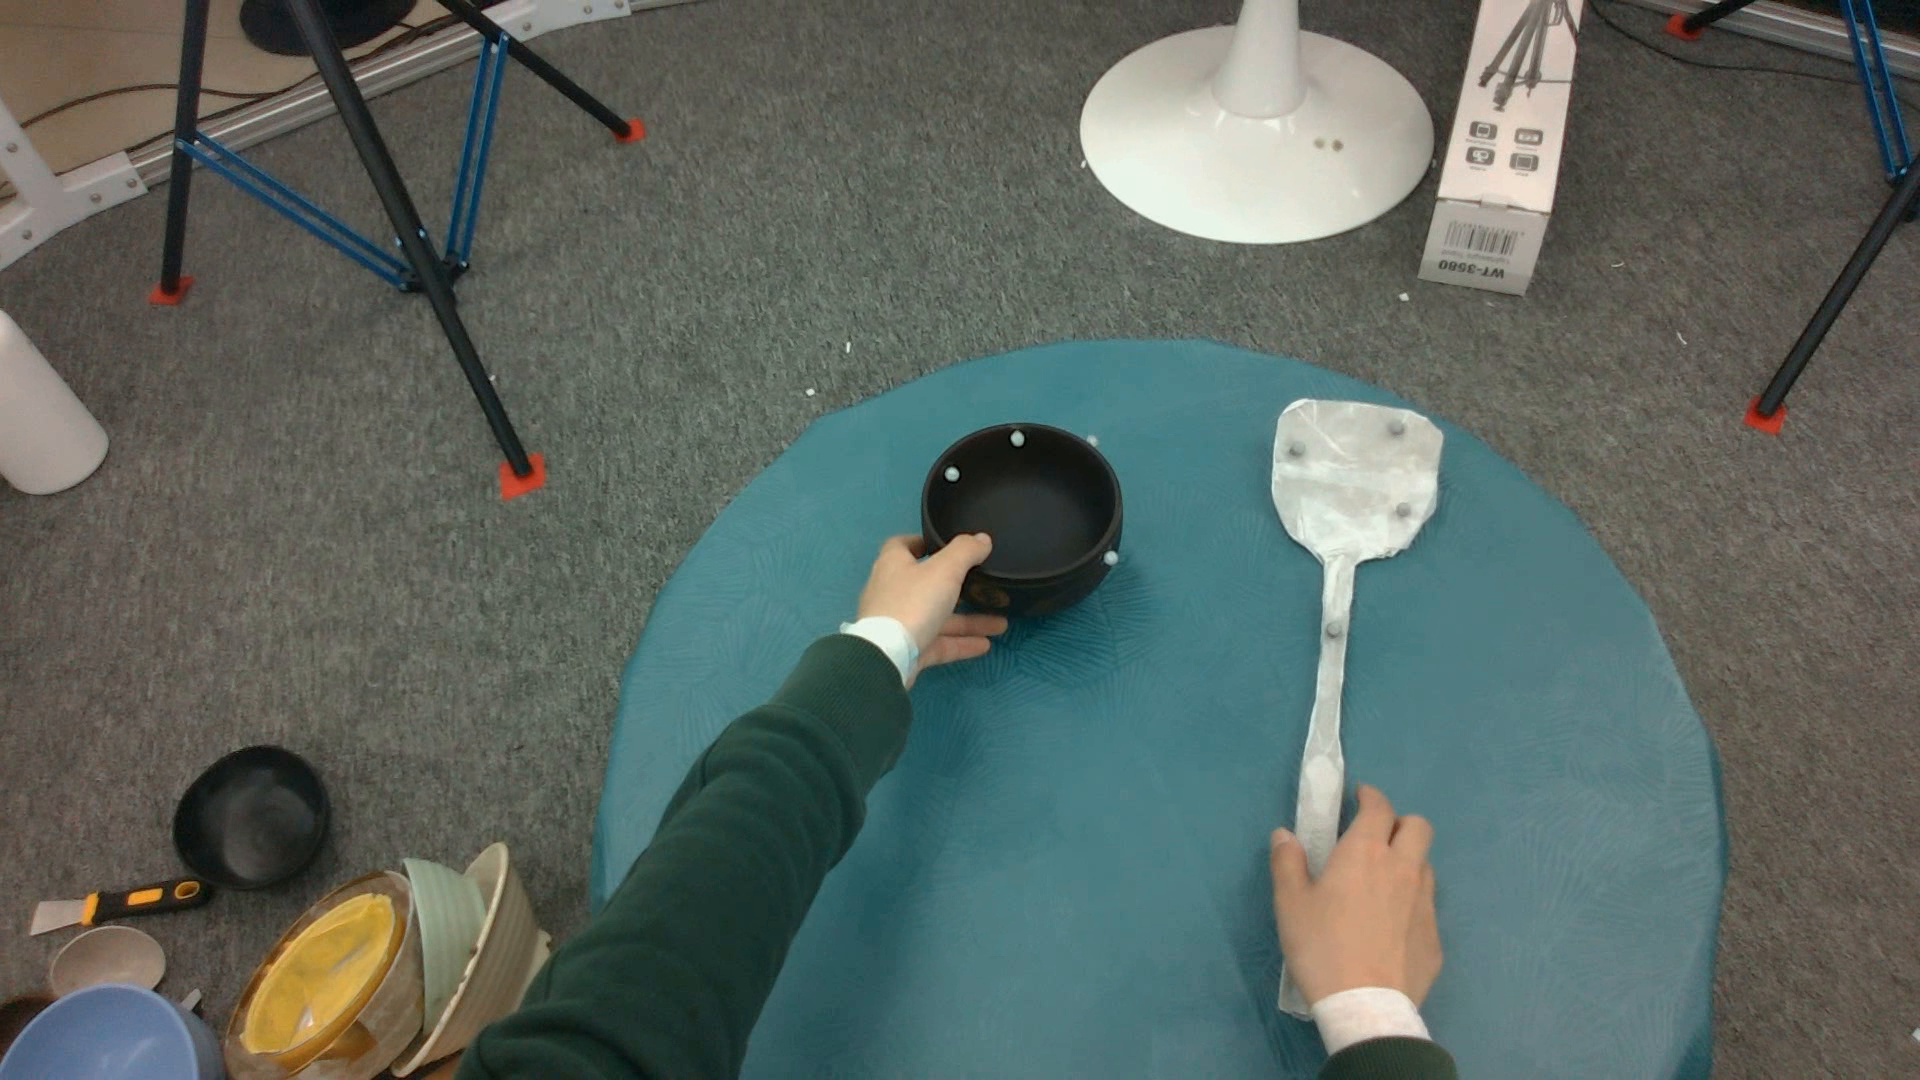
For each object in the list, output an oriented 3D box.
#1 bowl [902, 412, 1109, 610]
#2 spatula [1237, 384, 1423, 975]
[{"bbox_3d":[0.027,-0.010,0.801,0.118,0.069,0.118,-2,53,3],"label":"bowl"},{"bbox_3d":[0.193,0.061,0.761,0.098,0.044,0.367,12,54,9],"label":"spatula"}]
